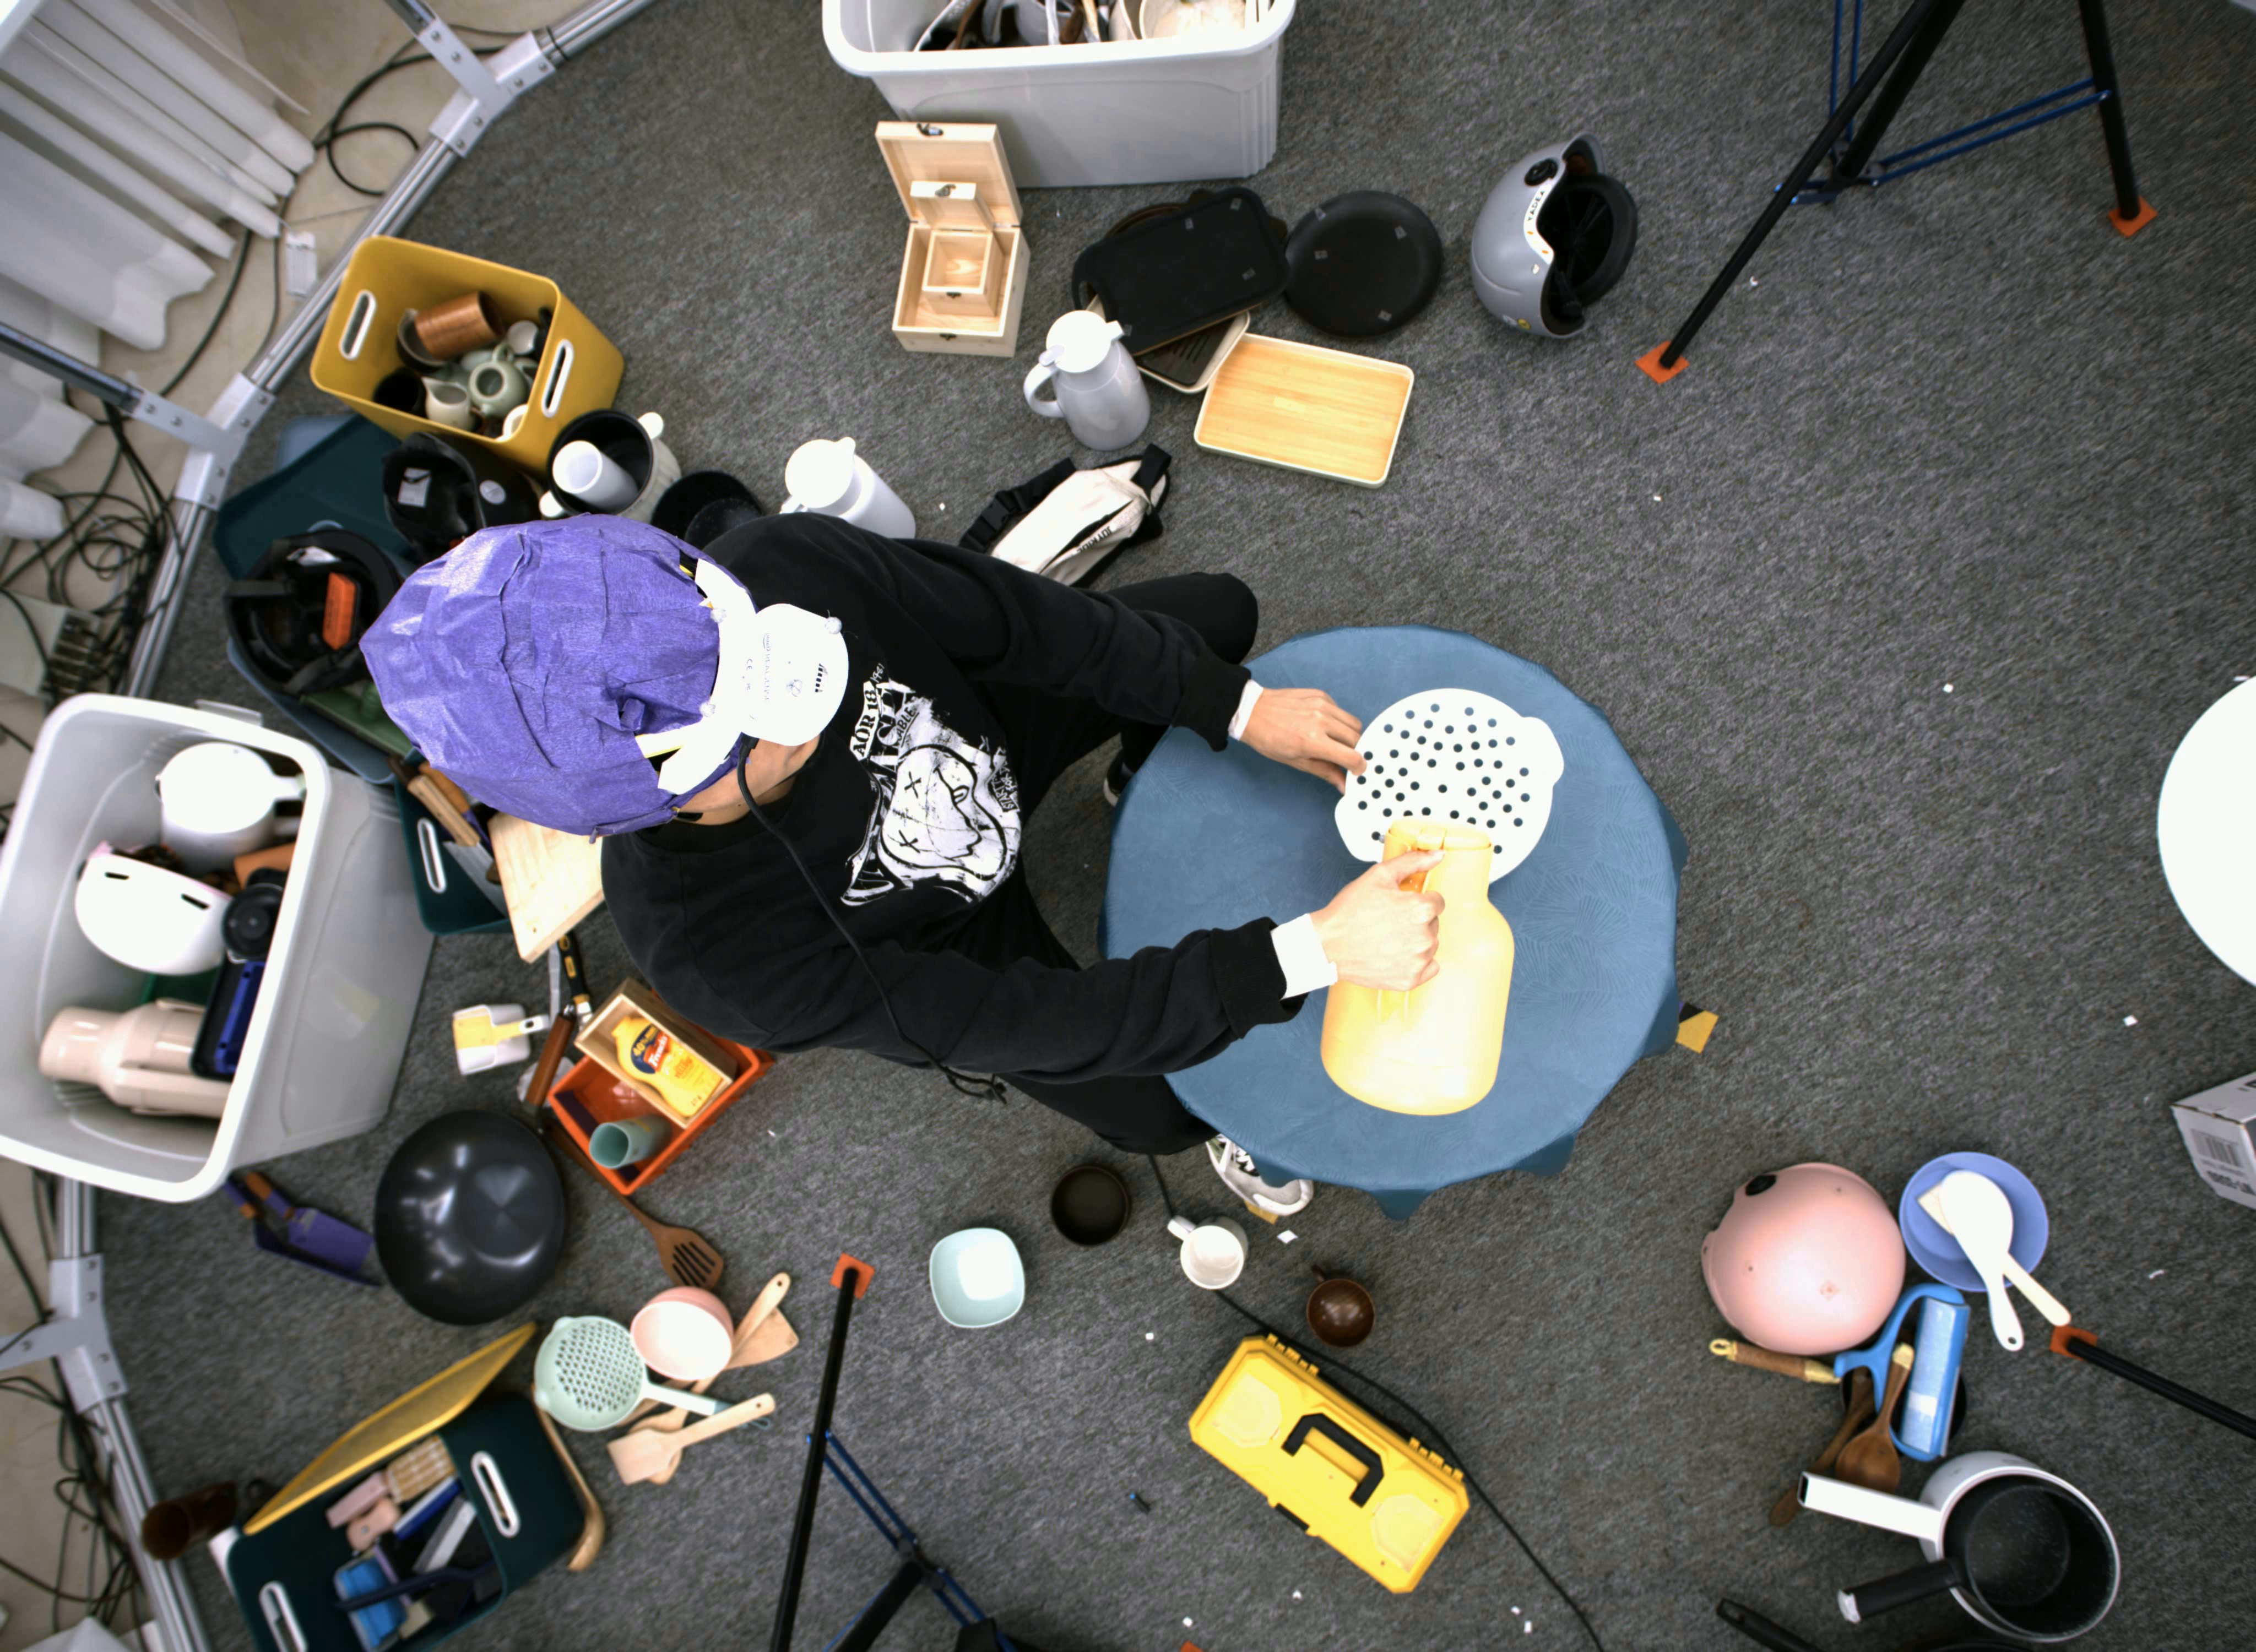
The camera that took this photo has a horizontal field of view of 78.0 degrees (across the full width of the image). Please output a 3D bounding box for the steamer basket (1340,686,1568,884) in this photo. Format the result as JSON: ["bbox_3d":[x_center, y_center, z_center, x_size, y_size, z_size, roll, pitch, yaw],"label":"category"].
[{"bbox_3d":[0.326,-0.041,1.390,0.232,0.069,0.202,-24,93,9],"label":"steamer basket"}]

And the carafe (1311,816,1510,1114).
[{"bbox_3d":[0.256,0.124,1.248,0.164,0.199,0.264,13,106,21],"label":"carafe"}]
